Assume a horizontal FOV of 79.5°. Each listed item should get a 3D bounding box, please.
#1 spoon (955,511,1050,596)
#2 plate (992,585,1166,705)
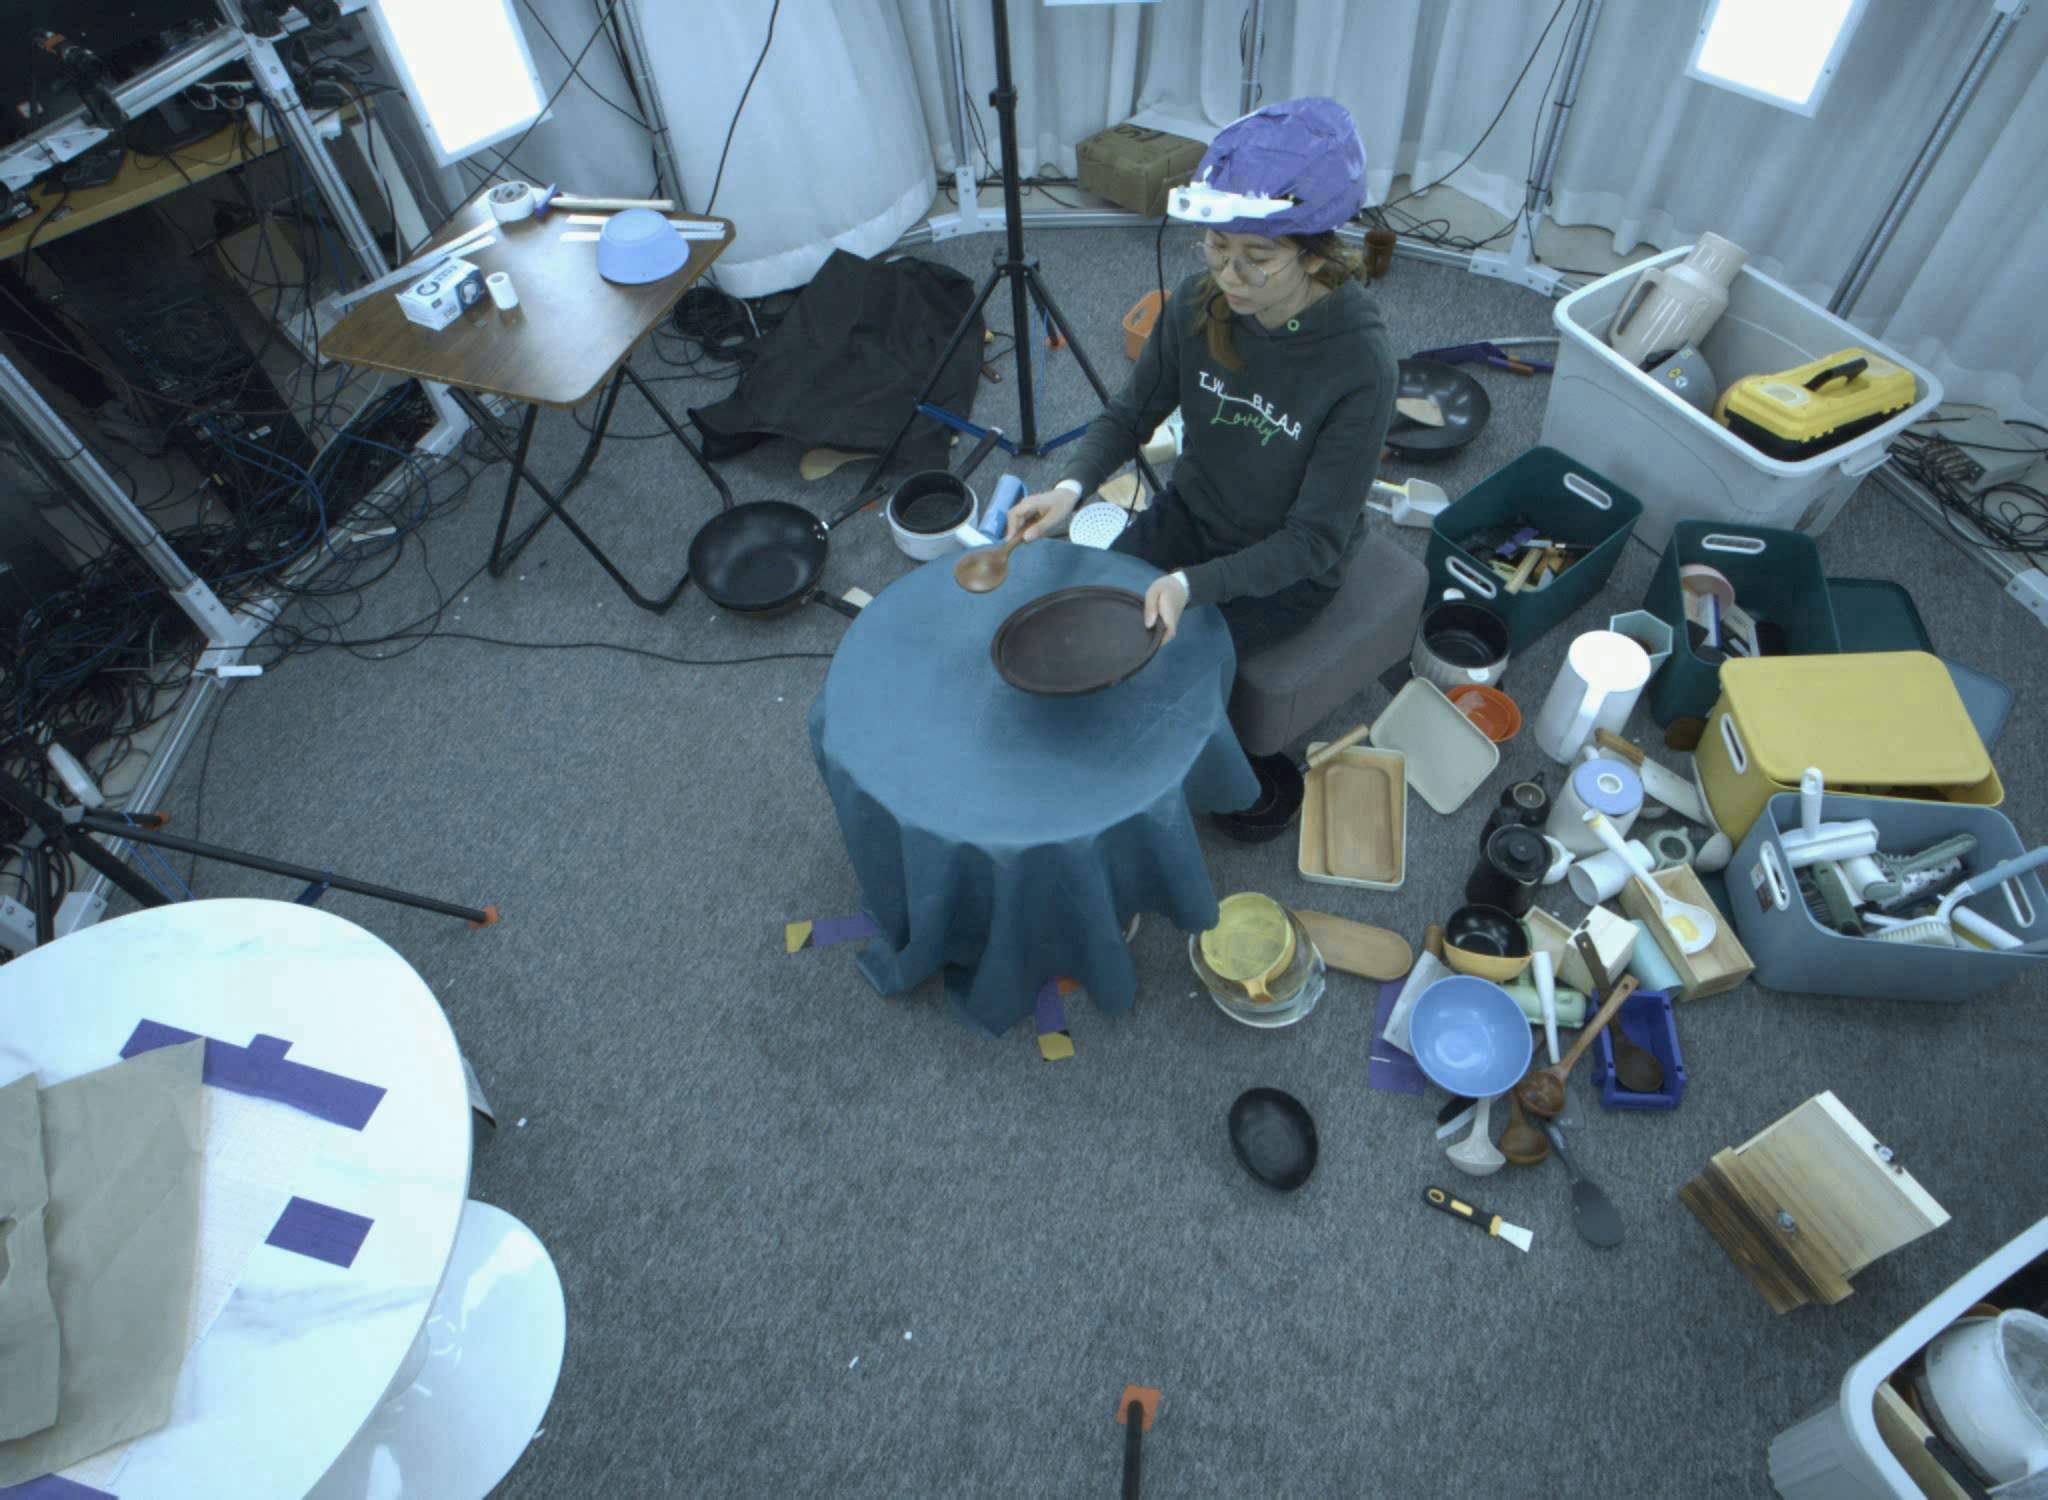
[{"bbox_3d":[-0.027,-0.299,1.860,0.075,0.017,0.217,34,57,12],"label":"spoon"},{"bbox_3d":[0.079,-0.150,1.776,0.253,0.029,0.252,-7,43,8],"label":"plate"}]
